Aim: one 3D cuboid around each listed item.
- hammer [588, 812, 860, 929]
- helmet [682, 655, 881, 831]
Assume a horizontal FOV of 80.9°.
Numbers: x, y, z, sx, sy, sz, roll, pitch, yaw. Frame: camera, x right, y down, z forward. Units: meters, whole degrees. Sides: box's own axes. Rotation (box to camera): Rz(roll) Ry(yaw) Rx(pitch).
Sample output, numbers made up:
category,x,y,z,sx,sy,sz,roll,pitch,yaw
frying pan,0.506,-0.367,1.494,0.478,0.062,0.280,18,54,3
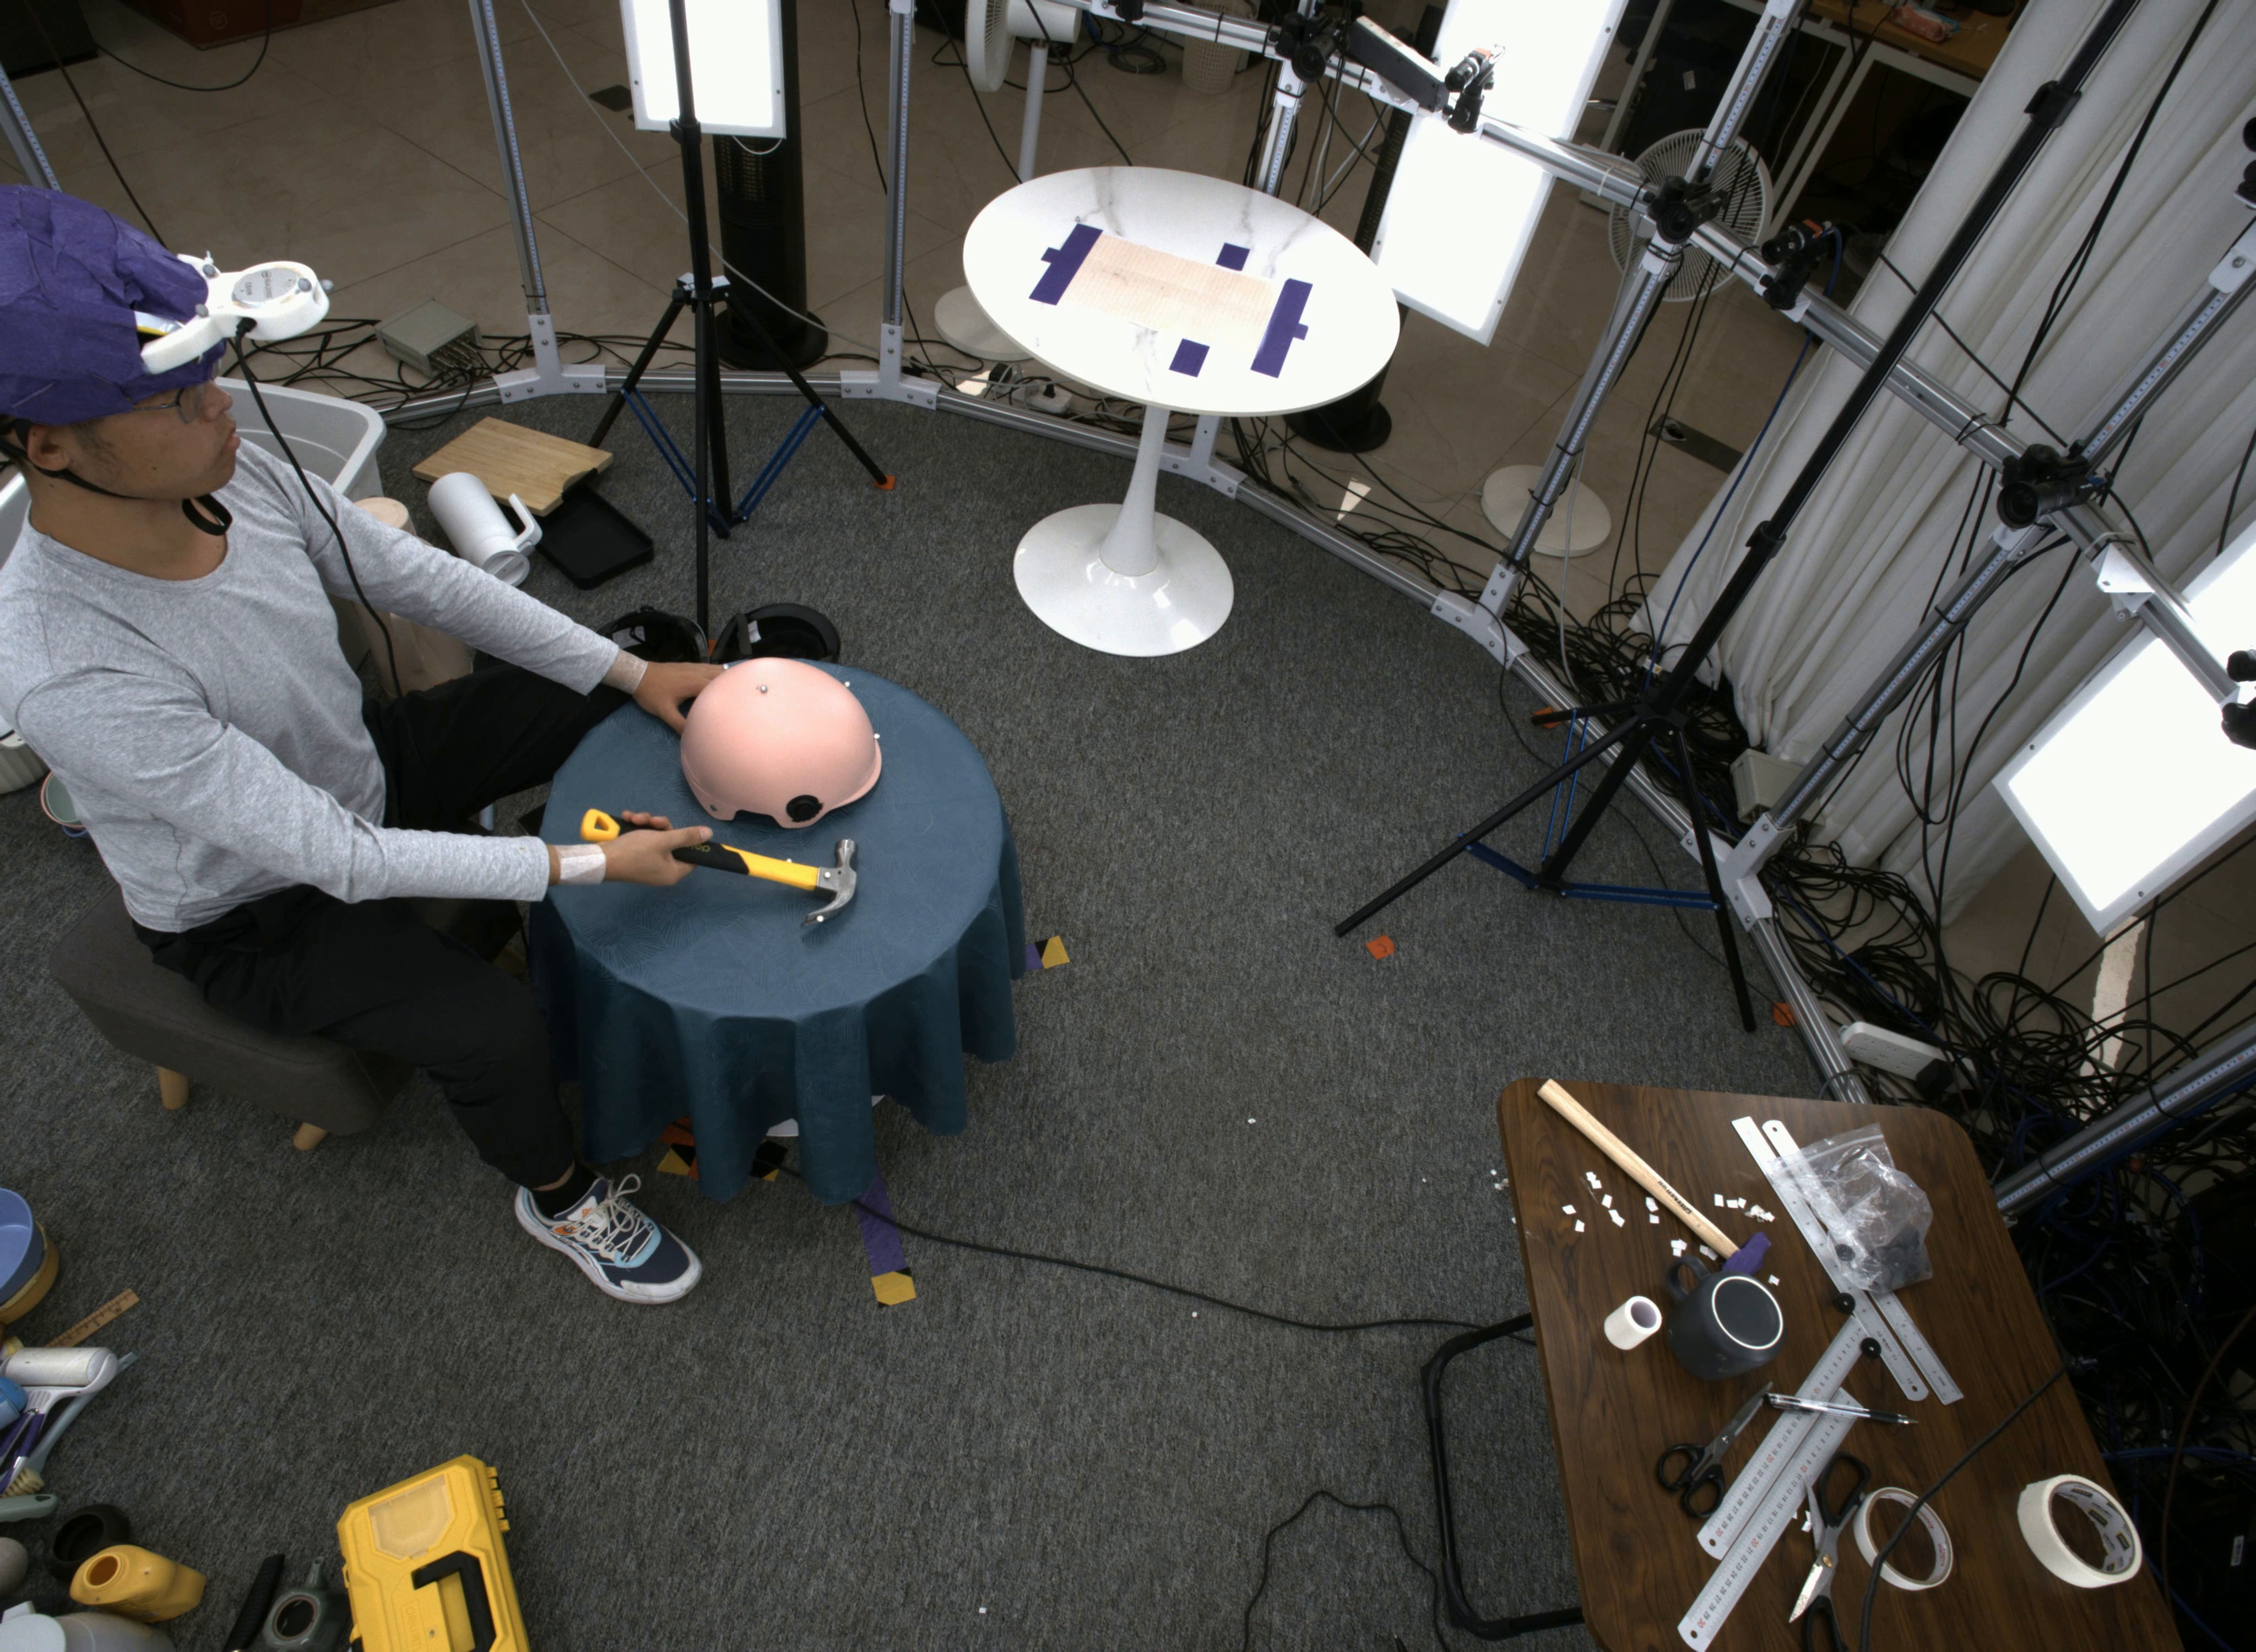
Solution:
category,x,y,z,sx,sy,sz,roll,pitch,yaw
hammer,-0.501,0.039,1.600,0.344,0.032,0.129,15,53,-24
helmet,-0.457,-0.130,1.717,0.267,0.162,0.229,-1,54,-18
